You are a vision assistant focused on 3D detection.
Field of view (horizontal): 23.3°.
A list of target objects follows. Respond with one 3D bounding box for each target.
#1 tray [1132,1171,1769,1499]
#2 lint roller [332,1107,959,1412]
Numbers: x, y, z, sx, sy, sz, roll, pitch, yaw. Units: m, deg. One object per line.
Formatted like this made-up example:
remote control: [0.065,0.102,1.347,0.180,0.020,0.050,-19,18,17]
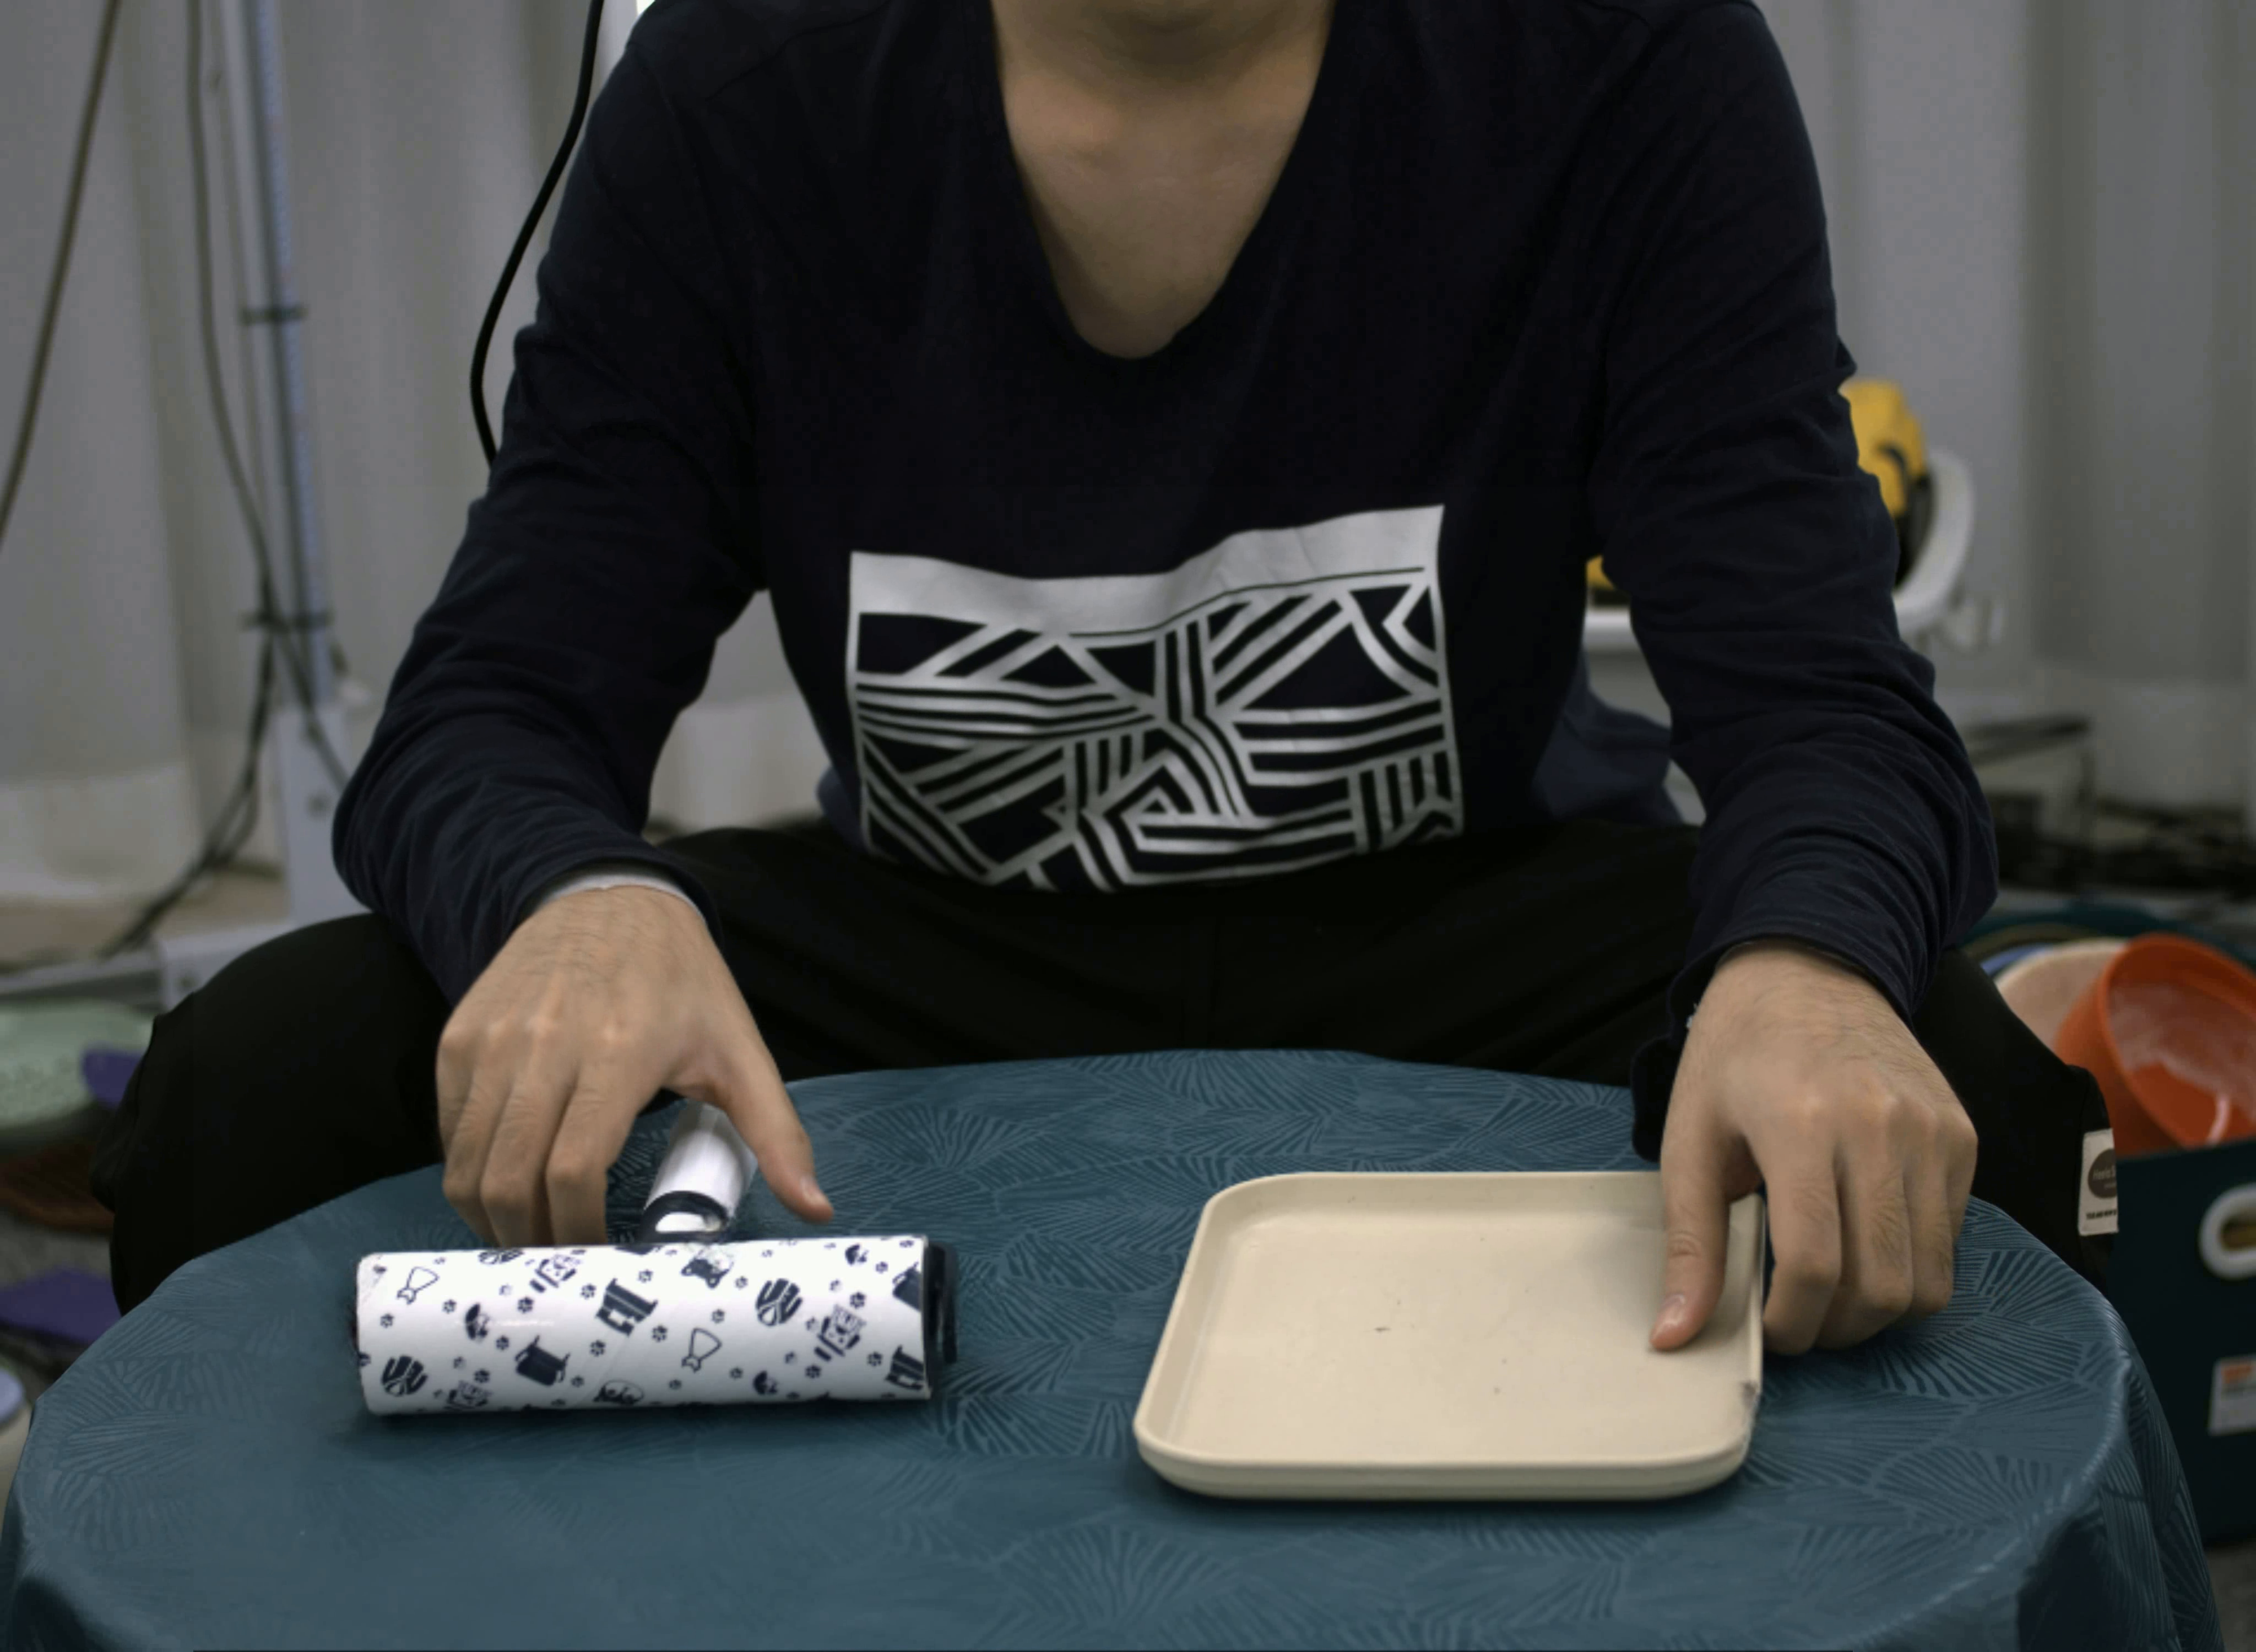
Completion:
tray: [0.096,0.144,1.555,0.171,0.017,0.241,-1,15,8]
lint roller: [-0.136,0.119,1.649,0.176,0.050,0.248,-3,12,1]
